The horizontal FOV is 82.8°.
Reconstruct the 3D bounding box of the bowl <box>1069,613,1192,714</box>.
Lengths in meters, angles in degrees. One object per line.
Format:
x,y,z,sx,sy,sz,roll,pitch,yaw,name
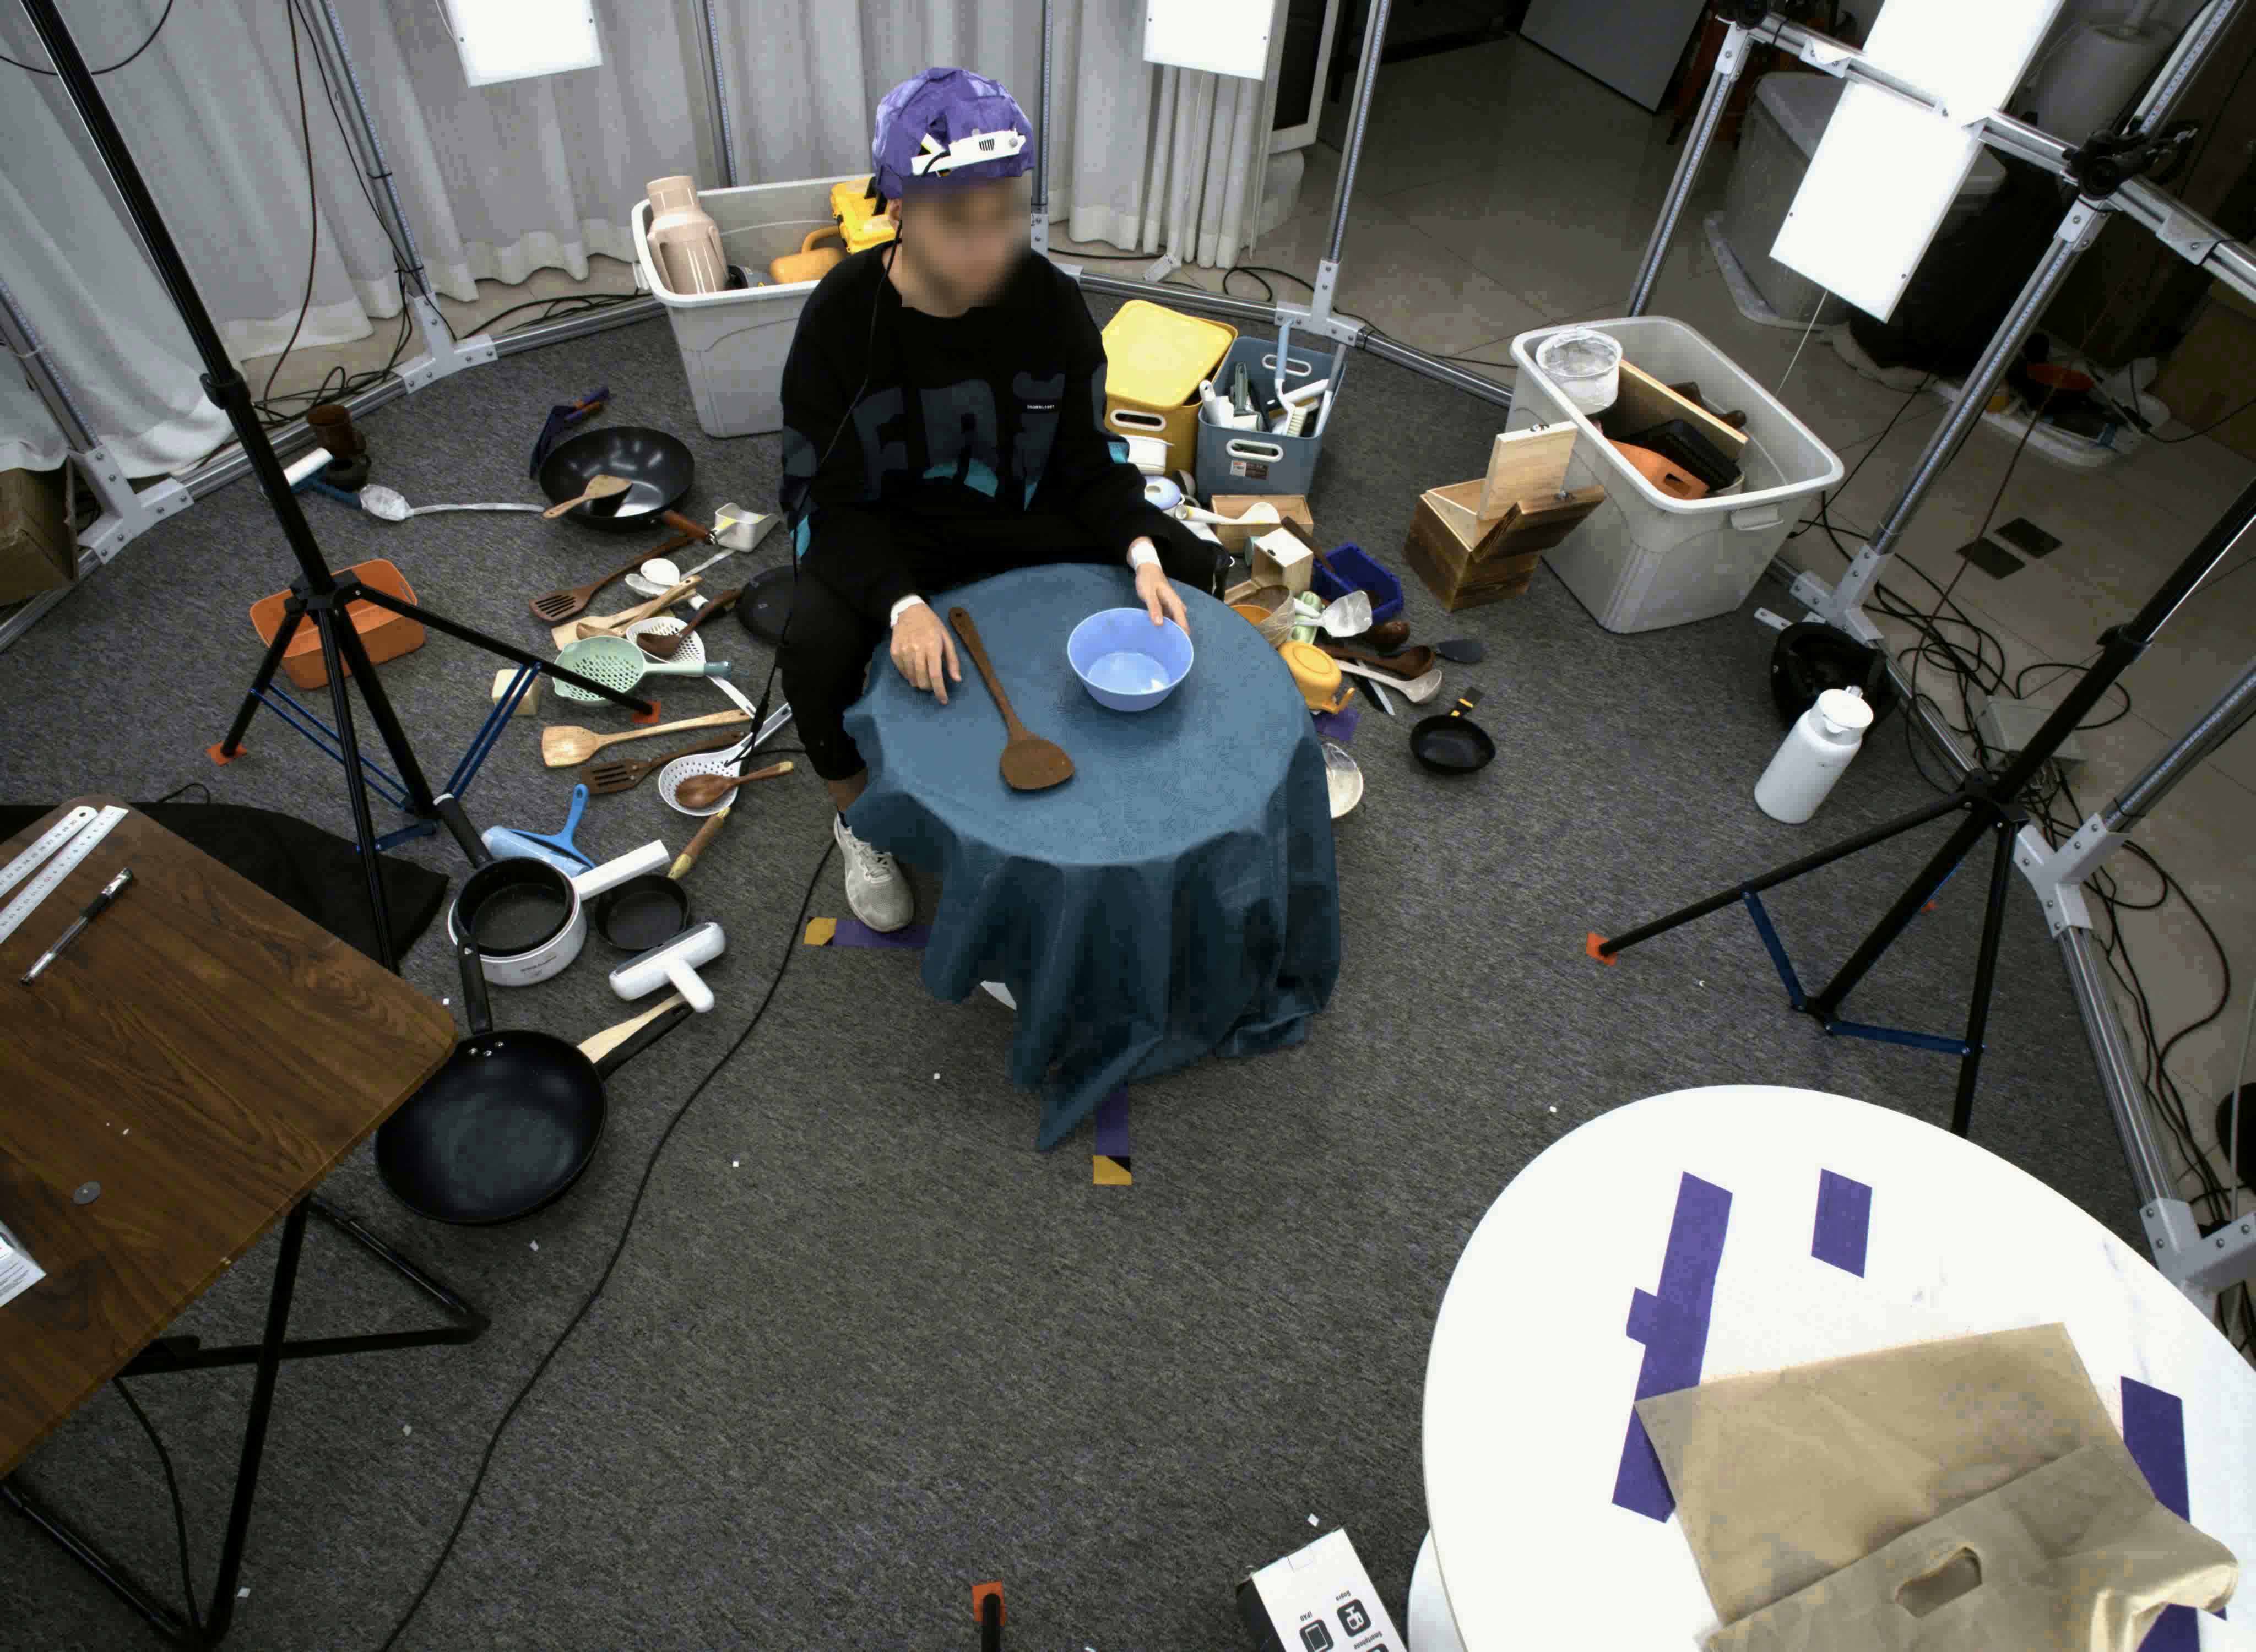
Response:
0.003,-0.224,1.835,0.176,0.068,0.180,2,48,-2,bowl

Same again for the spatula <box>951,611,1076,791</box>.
-0.182,-0.188,1.827,0.096,0.015,0.395,-16,51,-17,spatula
